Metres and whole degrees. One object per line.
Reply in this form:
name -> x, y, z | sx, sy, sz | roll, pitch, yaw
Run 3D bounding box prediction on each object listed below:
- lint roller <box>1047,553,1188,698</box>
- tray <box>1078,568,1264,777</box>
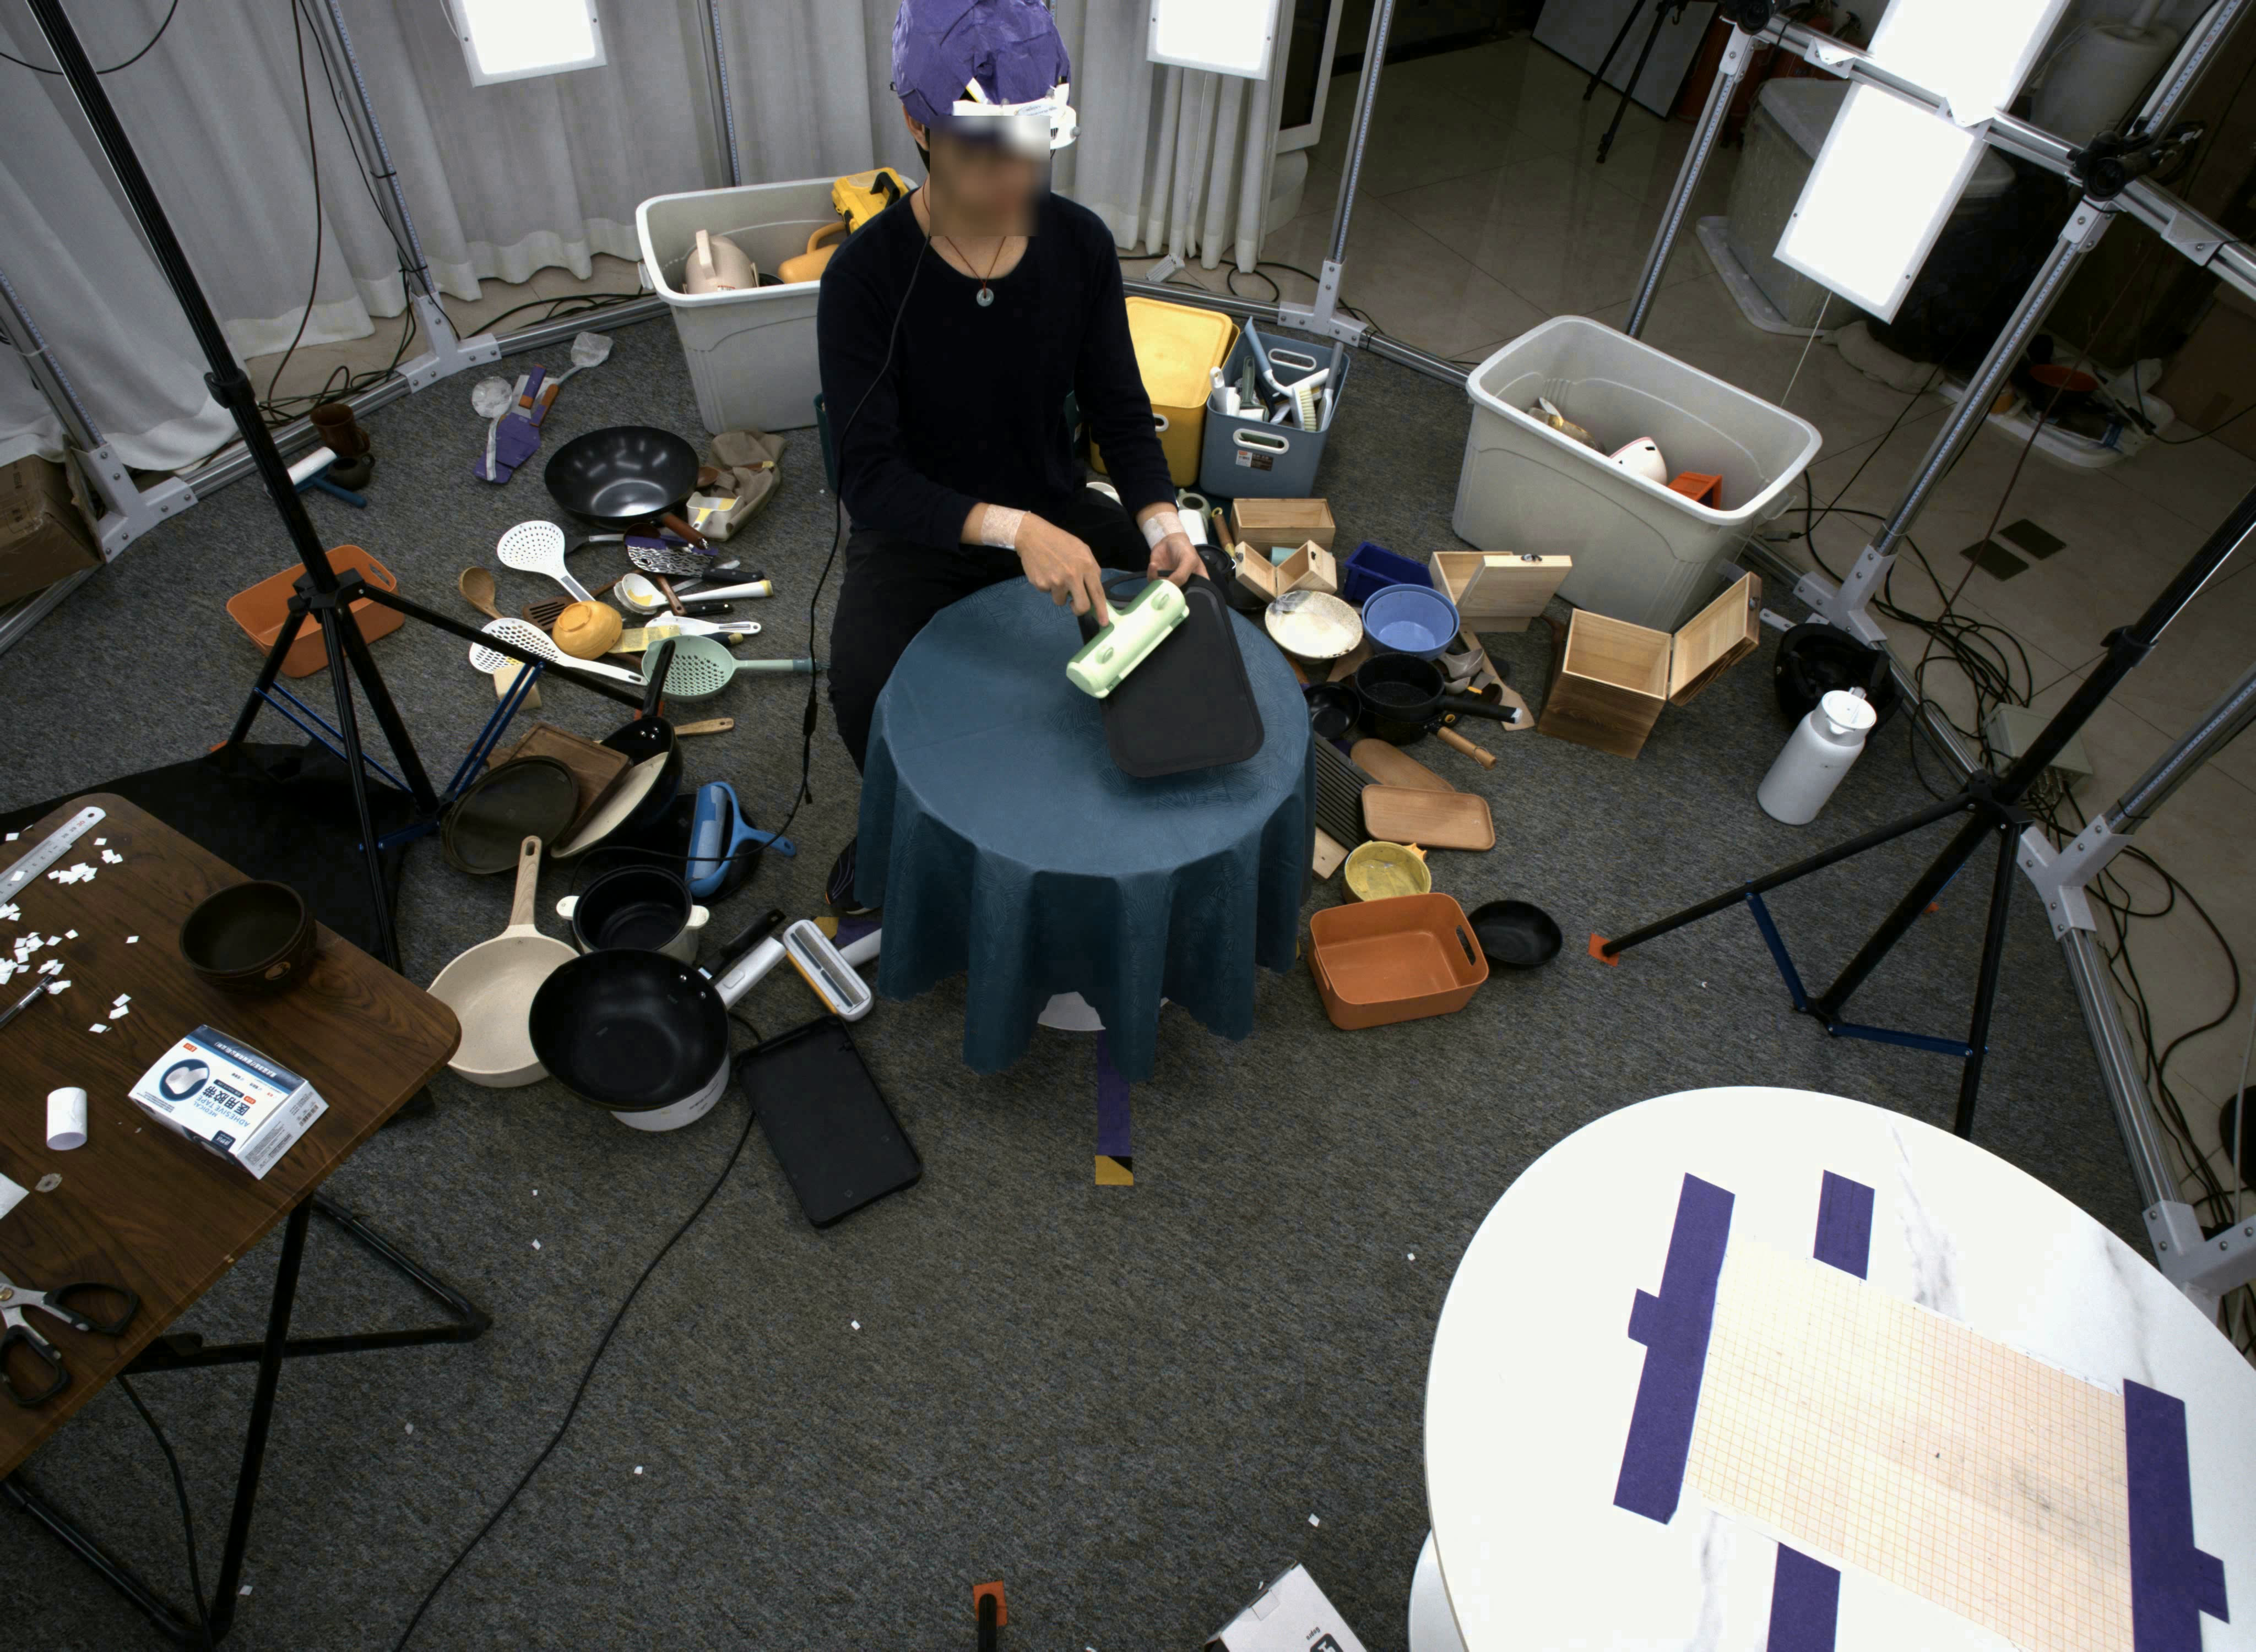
lint roller -> -0.034, -0.299, 1.721 | 0.181, 0.082, 0.201 | 49, 67, -14
tray -> 0.053, -0.219, 1.751 | 0.211, 0.009, 0.332 | -10, 64, -8
